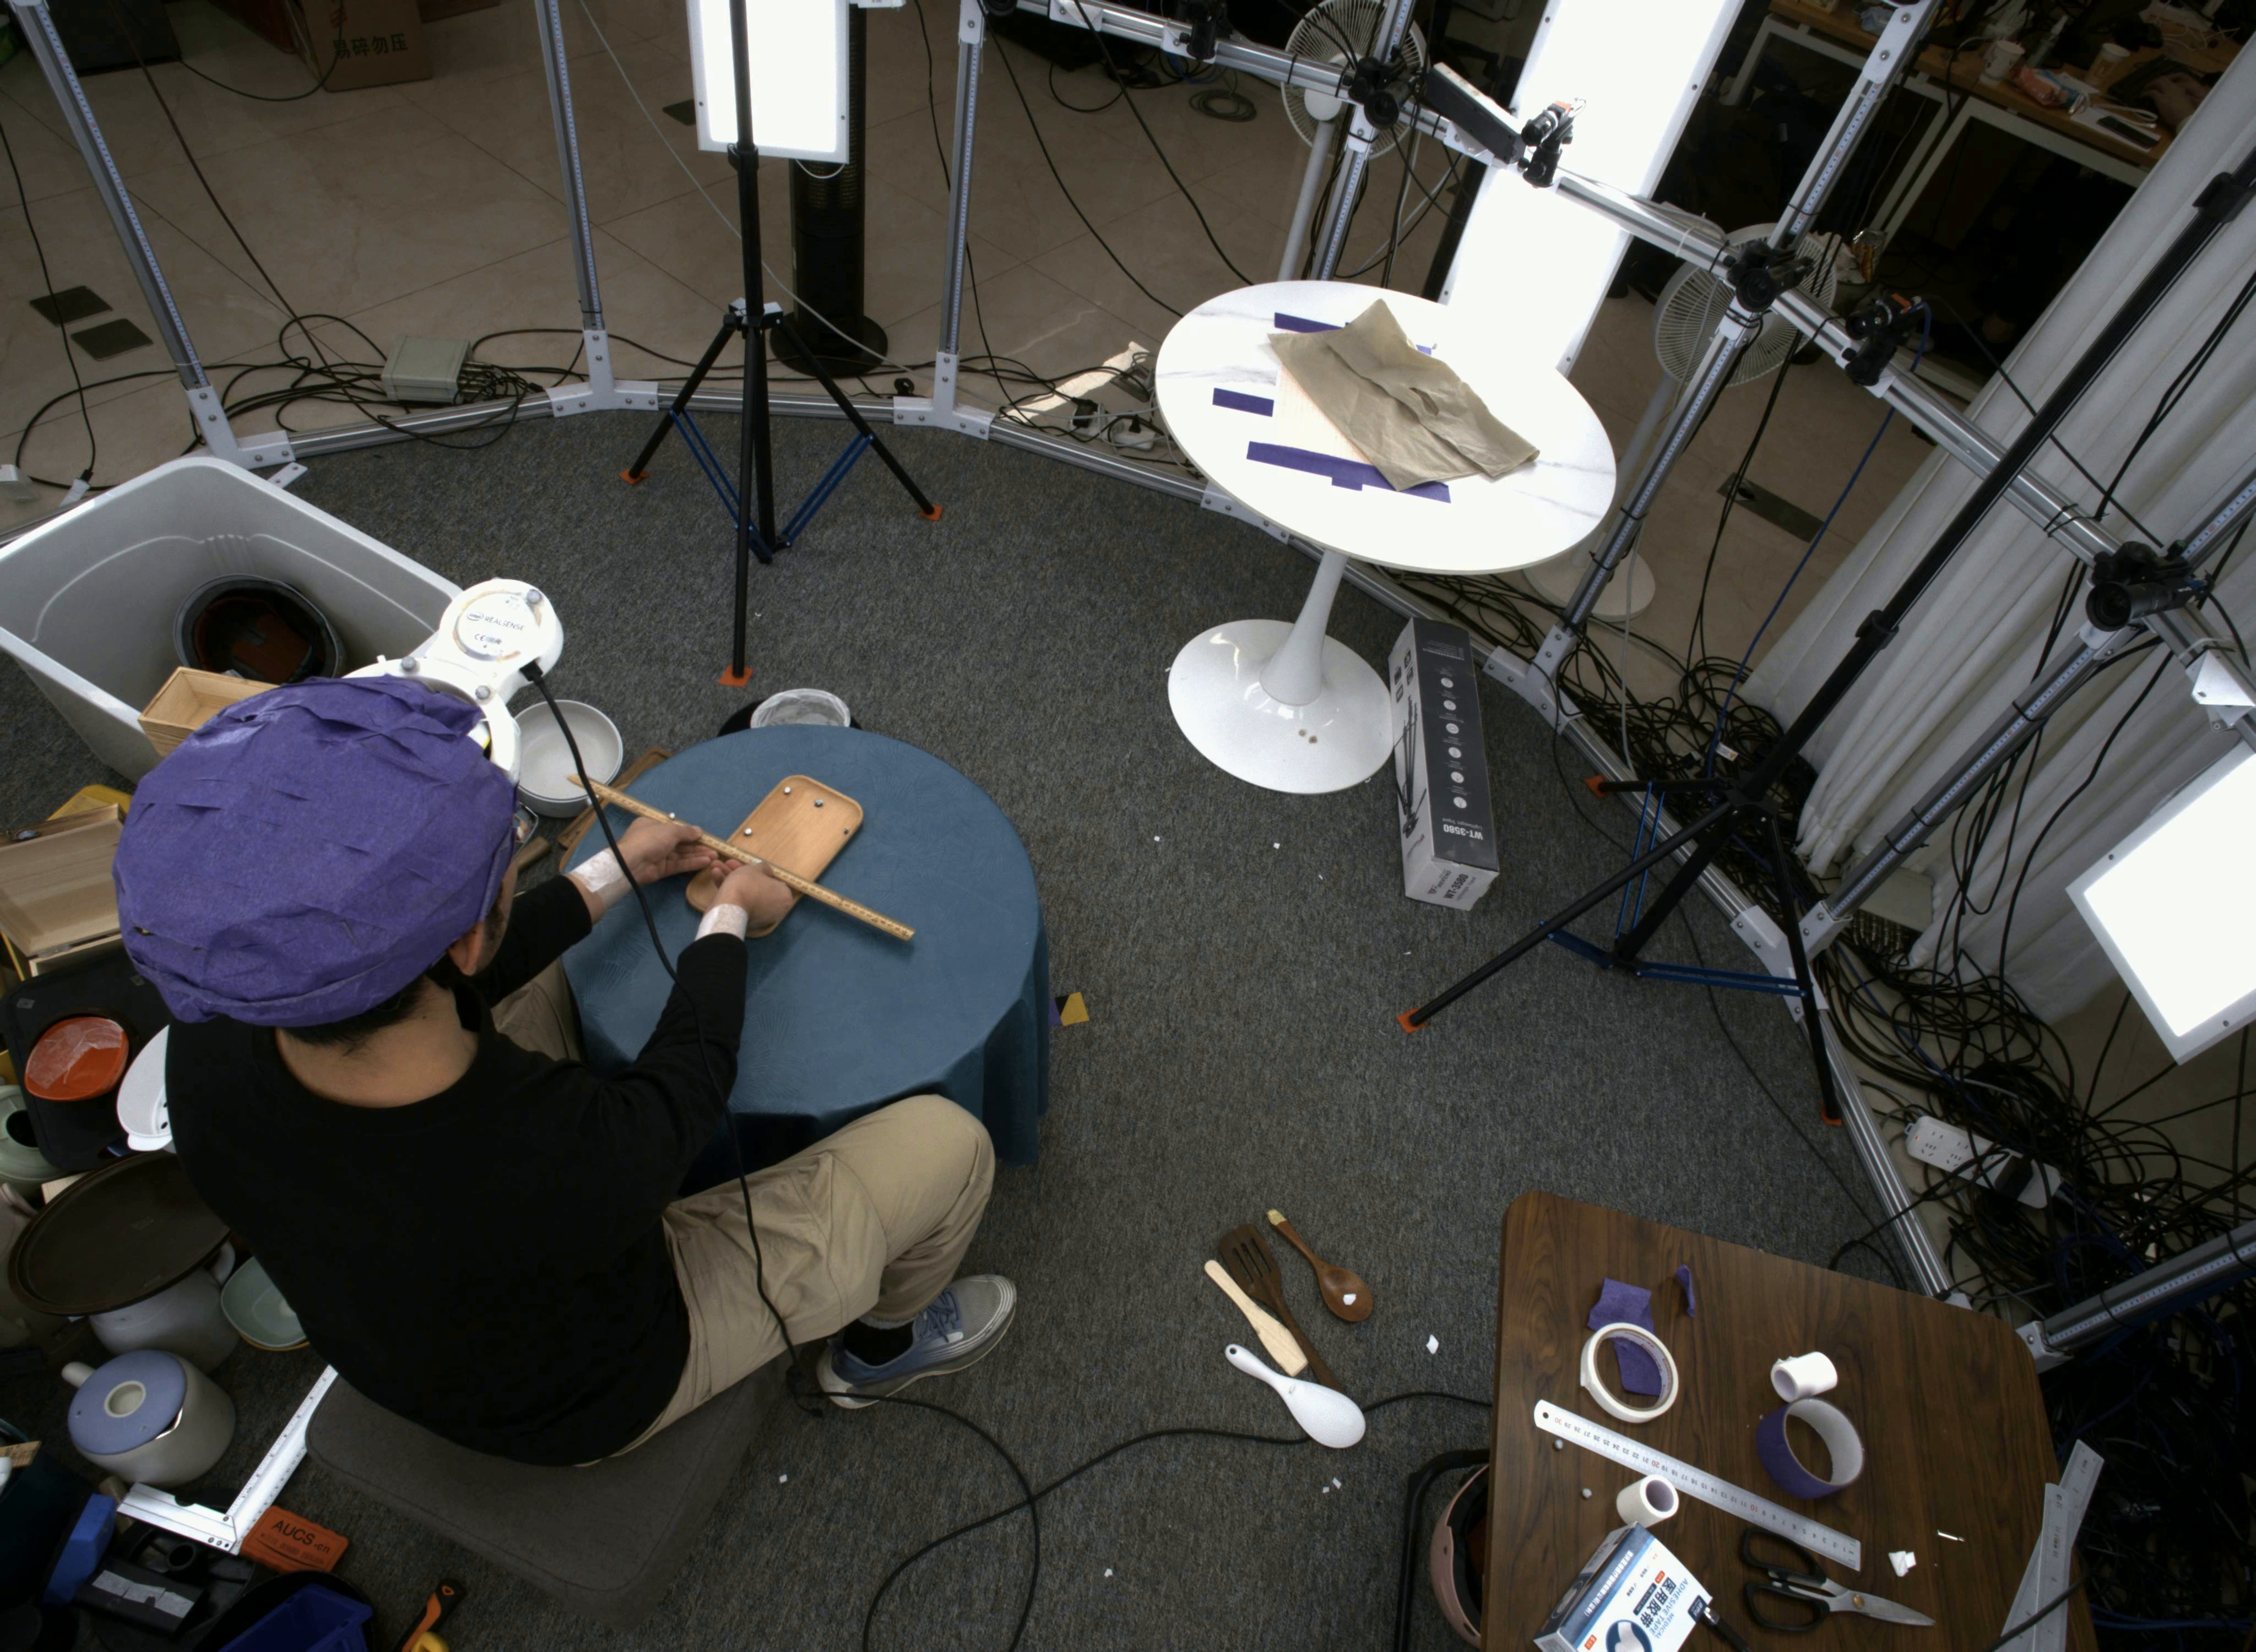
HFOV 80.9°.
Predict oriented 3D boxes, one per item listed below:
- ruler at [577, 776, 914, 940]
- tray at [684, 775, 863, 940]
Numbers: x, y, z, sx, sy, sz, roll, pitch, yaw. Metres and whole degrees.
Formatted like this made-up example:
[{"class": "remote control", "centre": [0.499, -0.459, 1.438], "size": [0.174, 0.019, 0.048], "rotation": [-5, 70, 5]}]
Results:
[{"class": "ruler", "centre": [-0.497, 0.036, 1.642], "size": [0.494, 0.006, 0.026], "rotation": [24, 24, 4]}, {"class": "tray", "centre": [-0.454, 0.036, 1.673], "size": [0.128, 0.023, 0.249], "rotation": [27, 53, 9]}]
